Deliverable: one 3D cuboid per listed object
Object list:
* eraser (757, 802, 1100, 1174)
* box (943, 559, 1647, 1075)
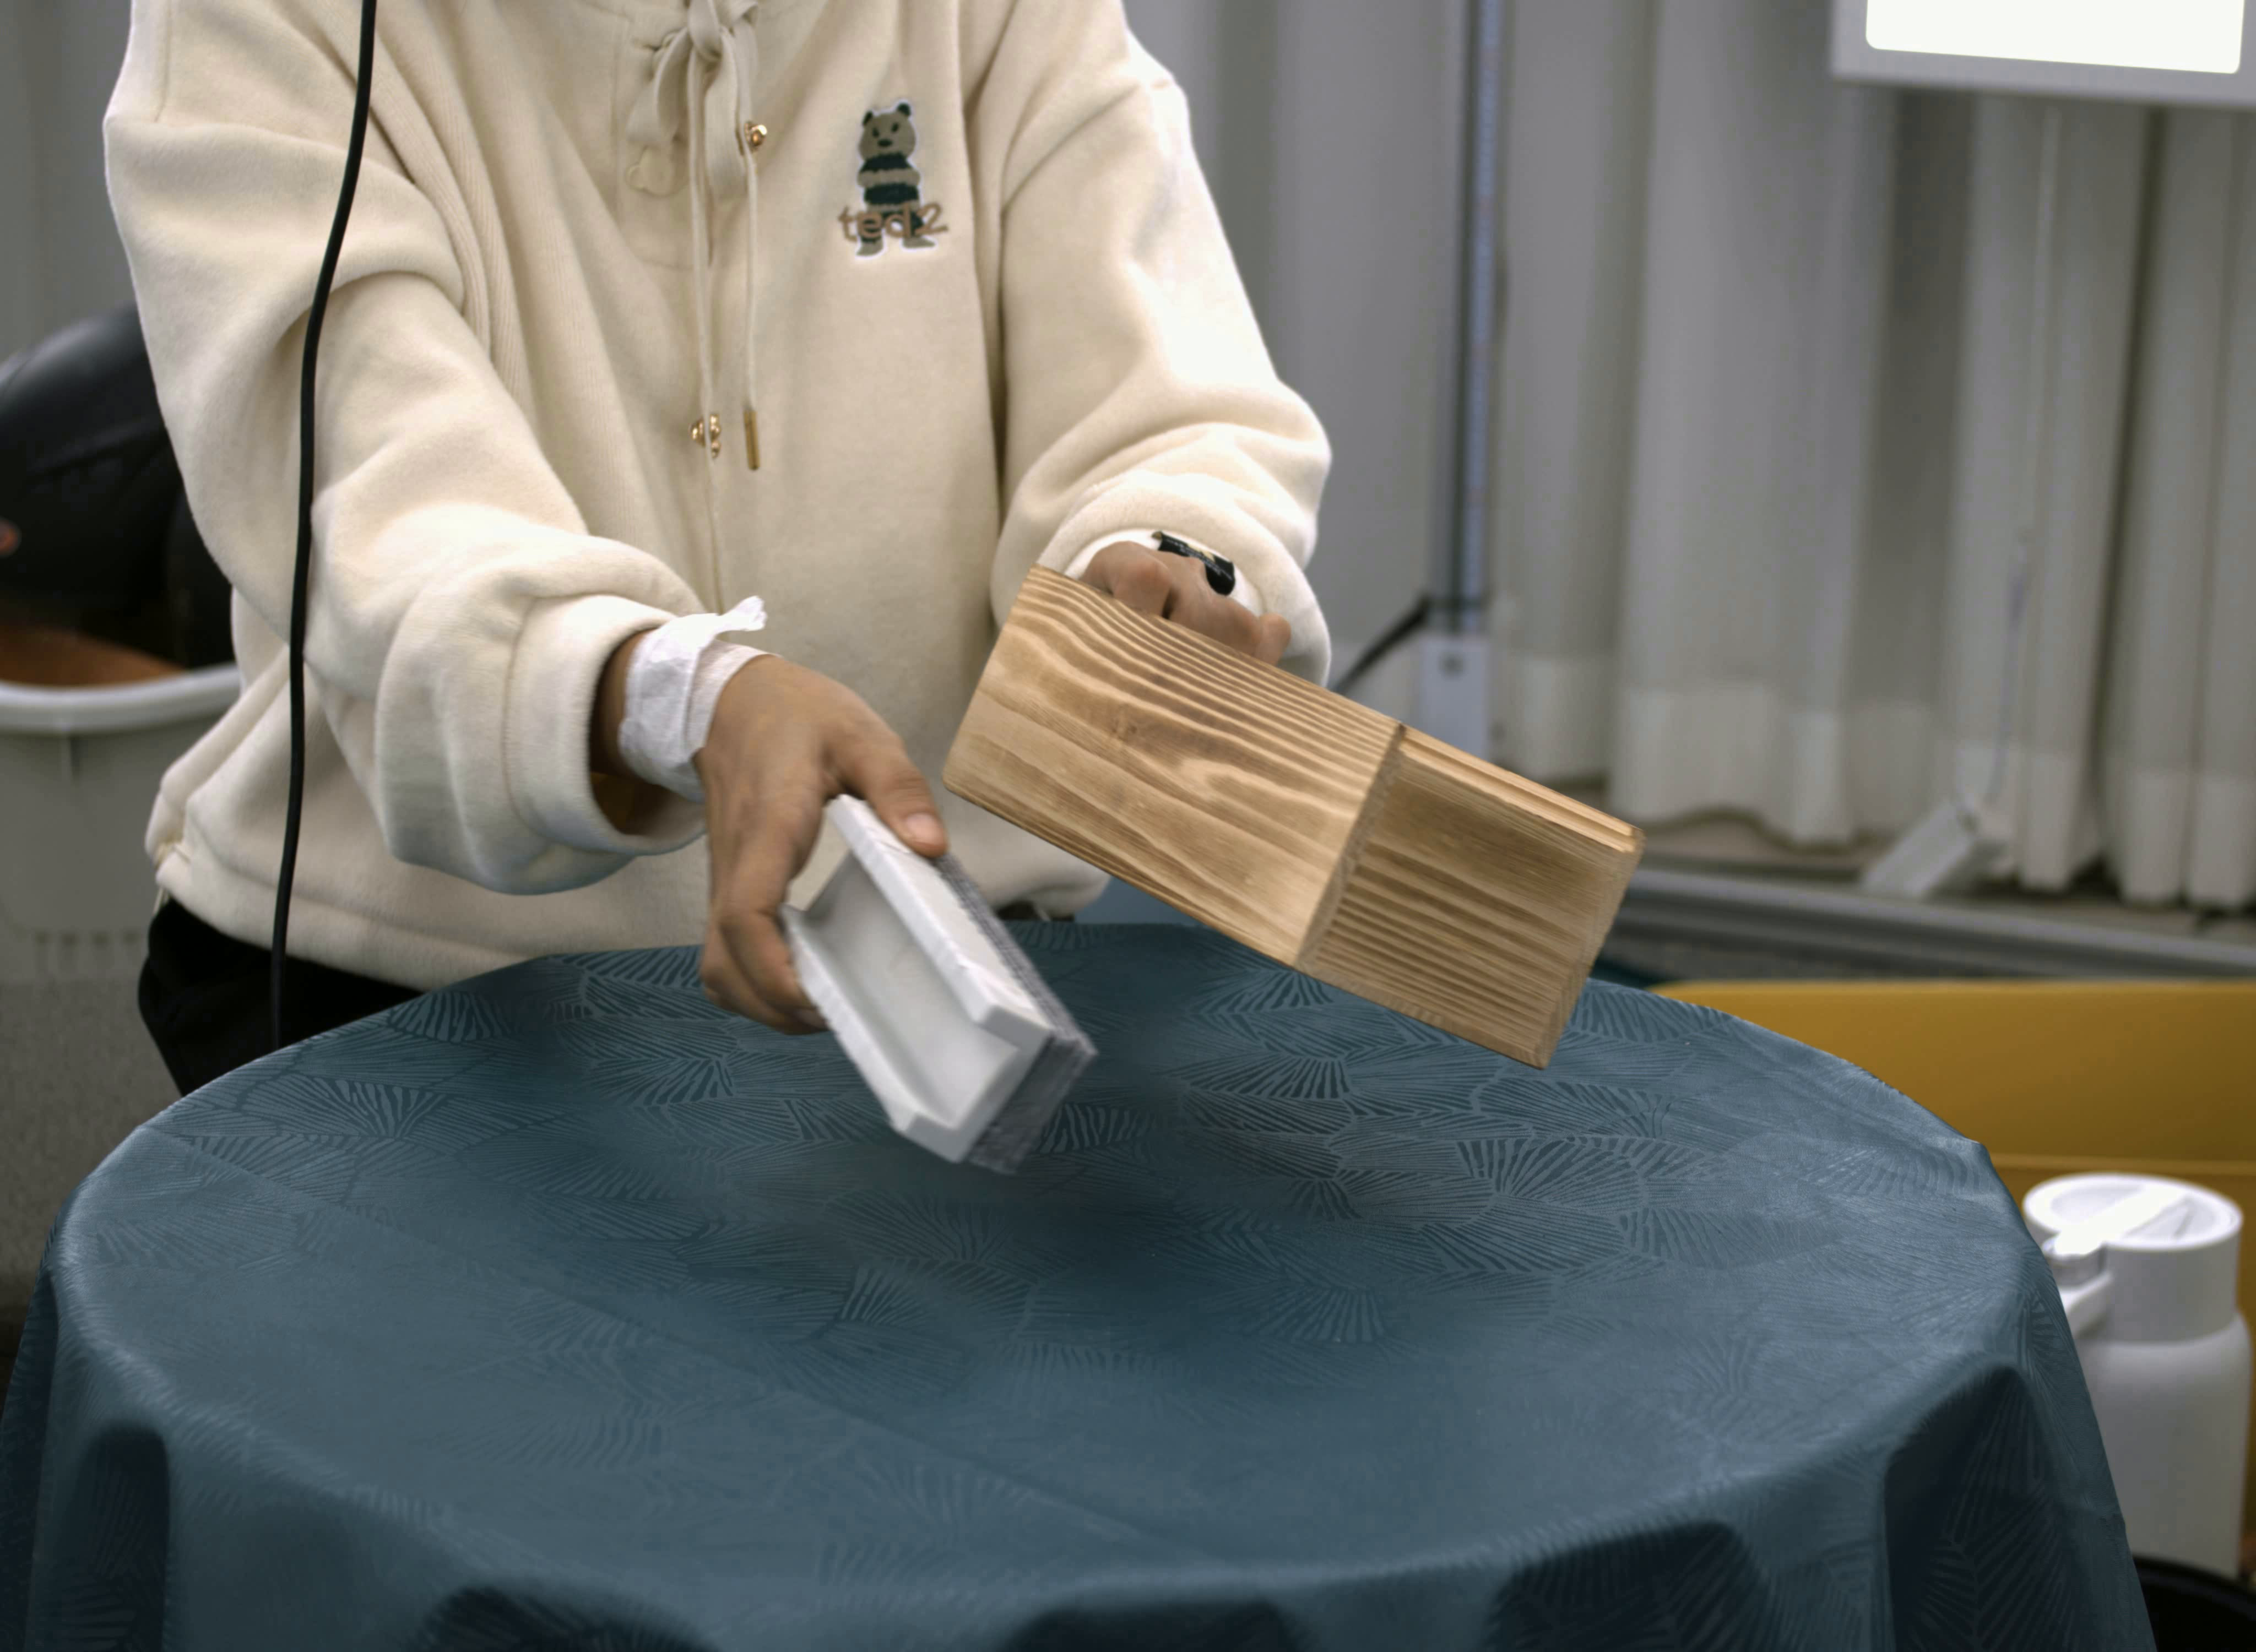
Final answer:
[{"bbox_3d":[-0.059,0.047,1.552,0.047,0.050,0.132,26,12,-35],"label":"eraser"},{"bbox_3d":[0.048,-0.005,1.639,0.109,0.080,0.208,23,3,-37],"label":"box"}]
